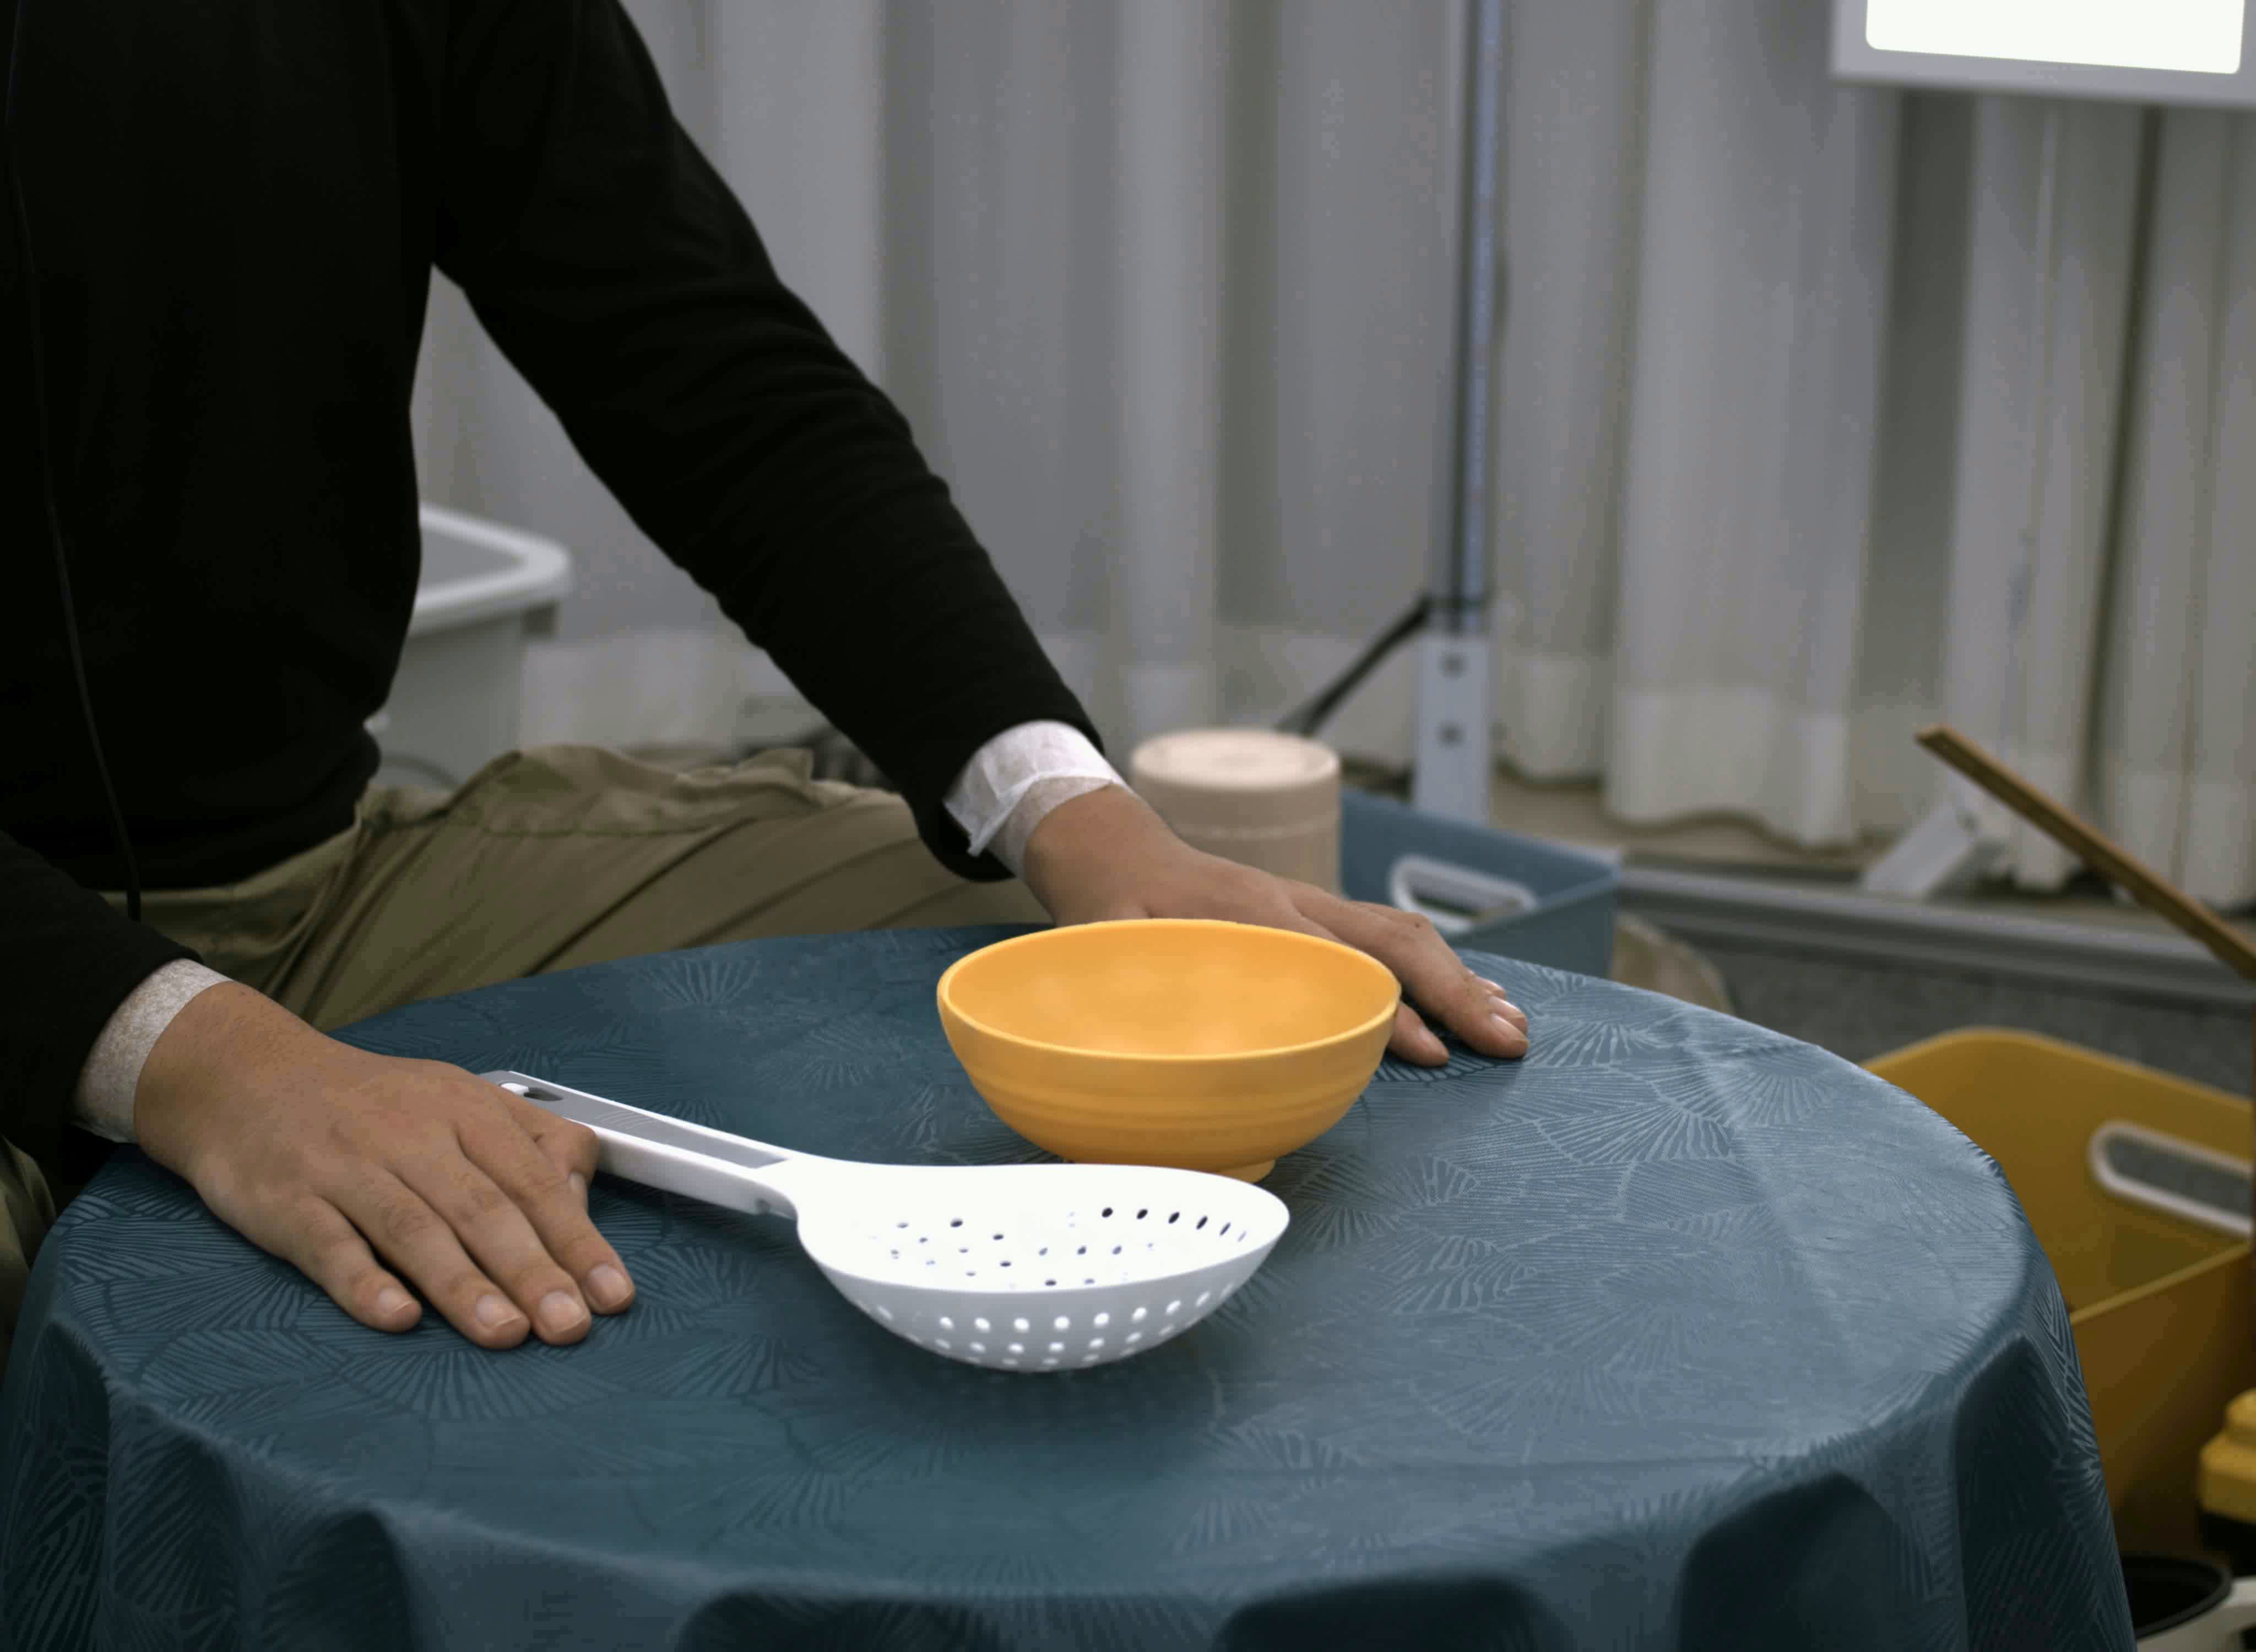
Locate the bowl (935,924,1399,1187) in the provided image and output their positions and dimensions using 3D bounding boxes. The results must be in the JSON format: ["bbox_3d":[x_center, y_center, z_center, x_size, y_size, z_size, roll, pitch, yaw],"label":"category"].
[{"bbox_3d":[0.011,0.078,1.638,0.145,0.060,0.144,2,15,0],"label":"bowl"}]

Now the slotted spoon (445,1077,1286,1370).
[{"bbox_3d":[-0.094,0.107,1.551,0.137,0.046,0.345,-12,19,-41],"label":"slotted spoon"}]
